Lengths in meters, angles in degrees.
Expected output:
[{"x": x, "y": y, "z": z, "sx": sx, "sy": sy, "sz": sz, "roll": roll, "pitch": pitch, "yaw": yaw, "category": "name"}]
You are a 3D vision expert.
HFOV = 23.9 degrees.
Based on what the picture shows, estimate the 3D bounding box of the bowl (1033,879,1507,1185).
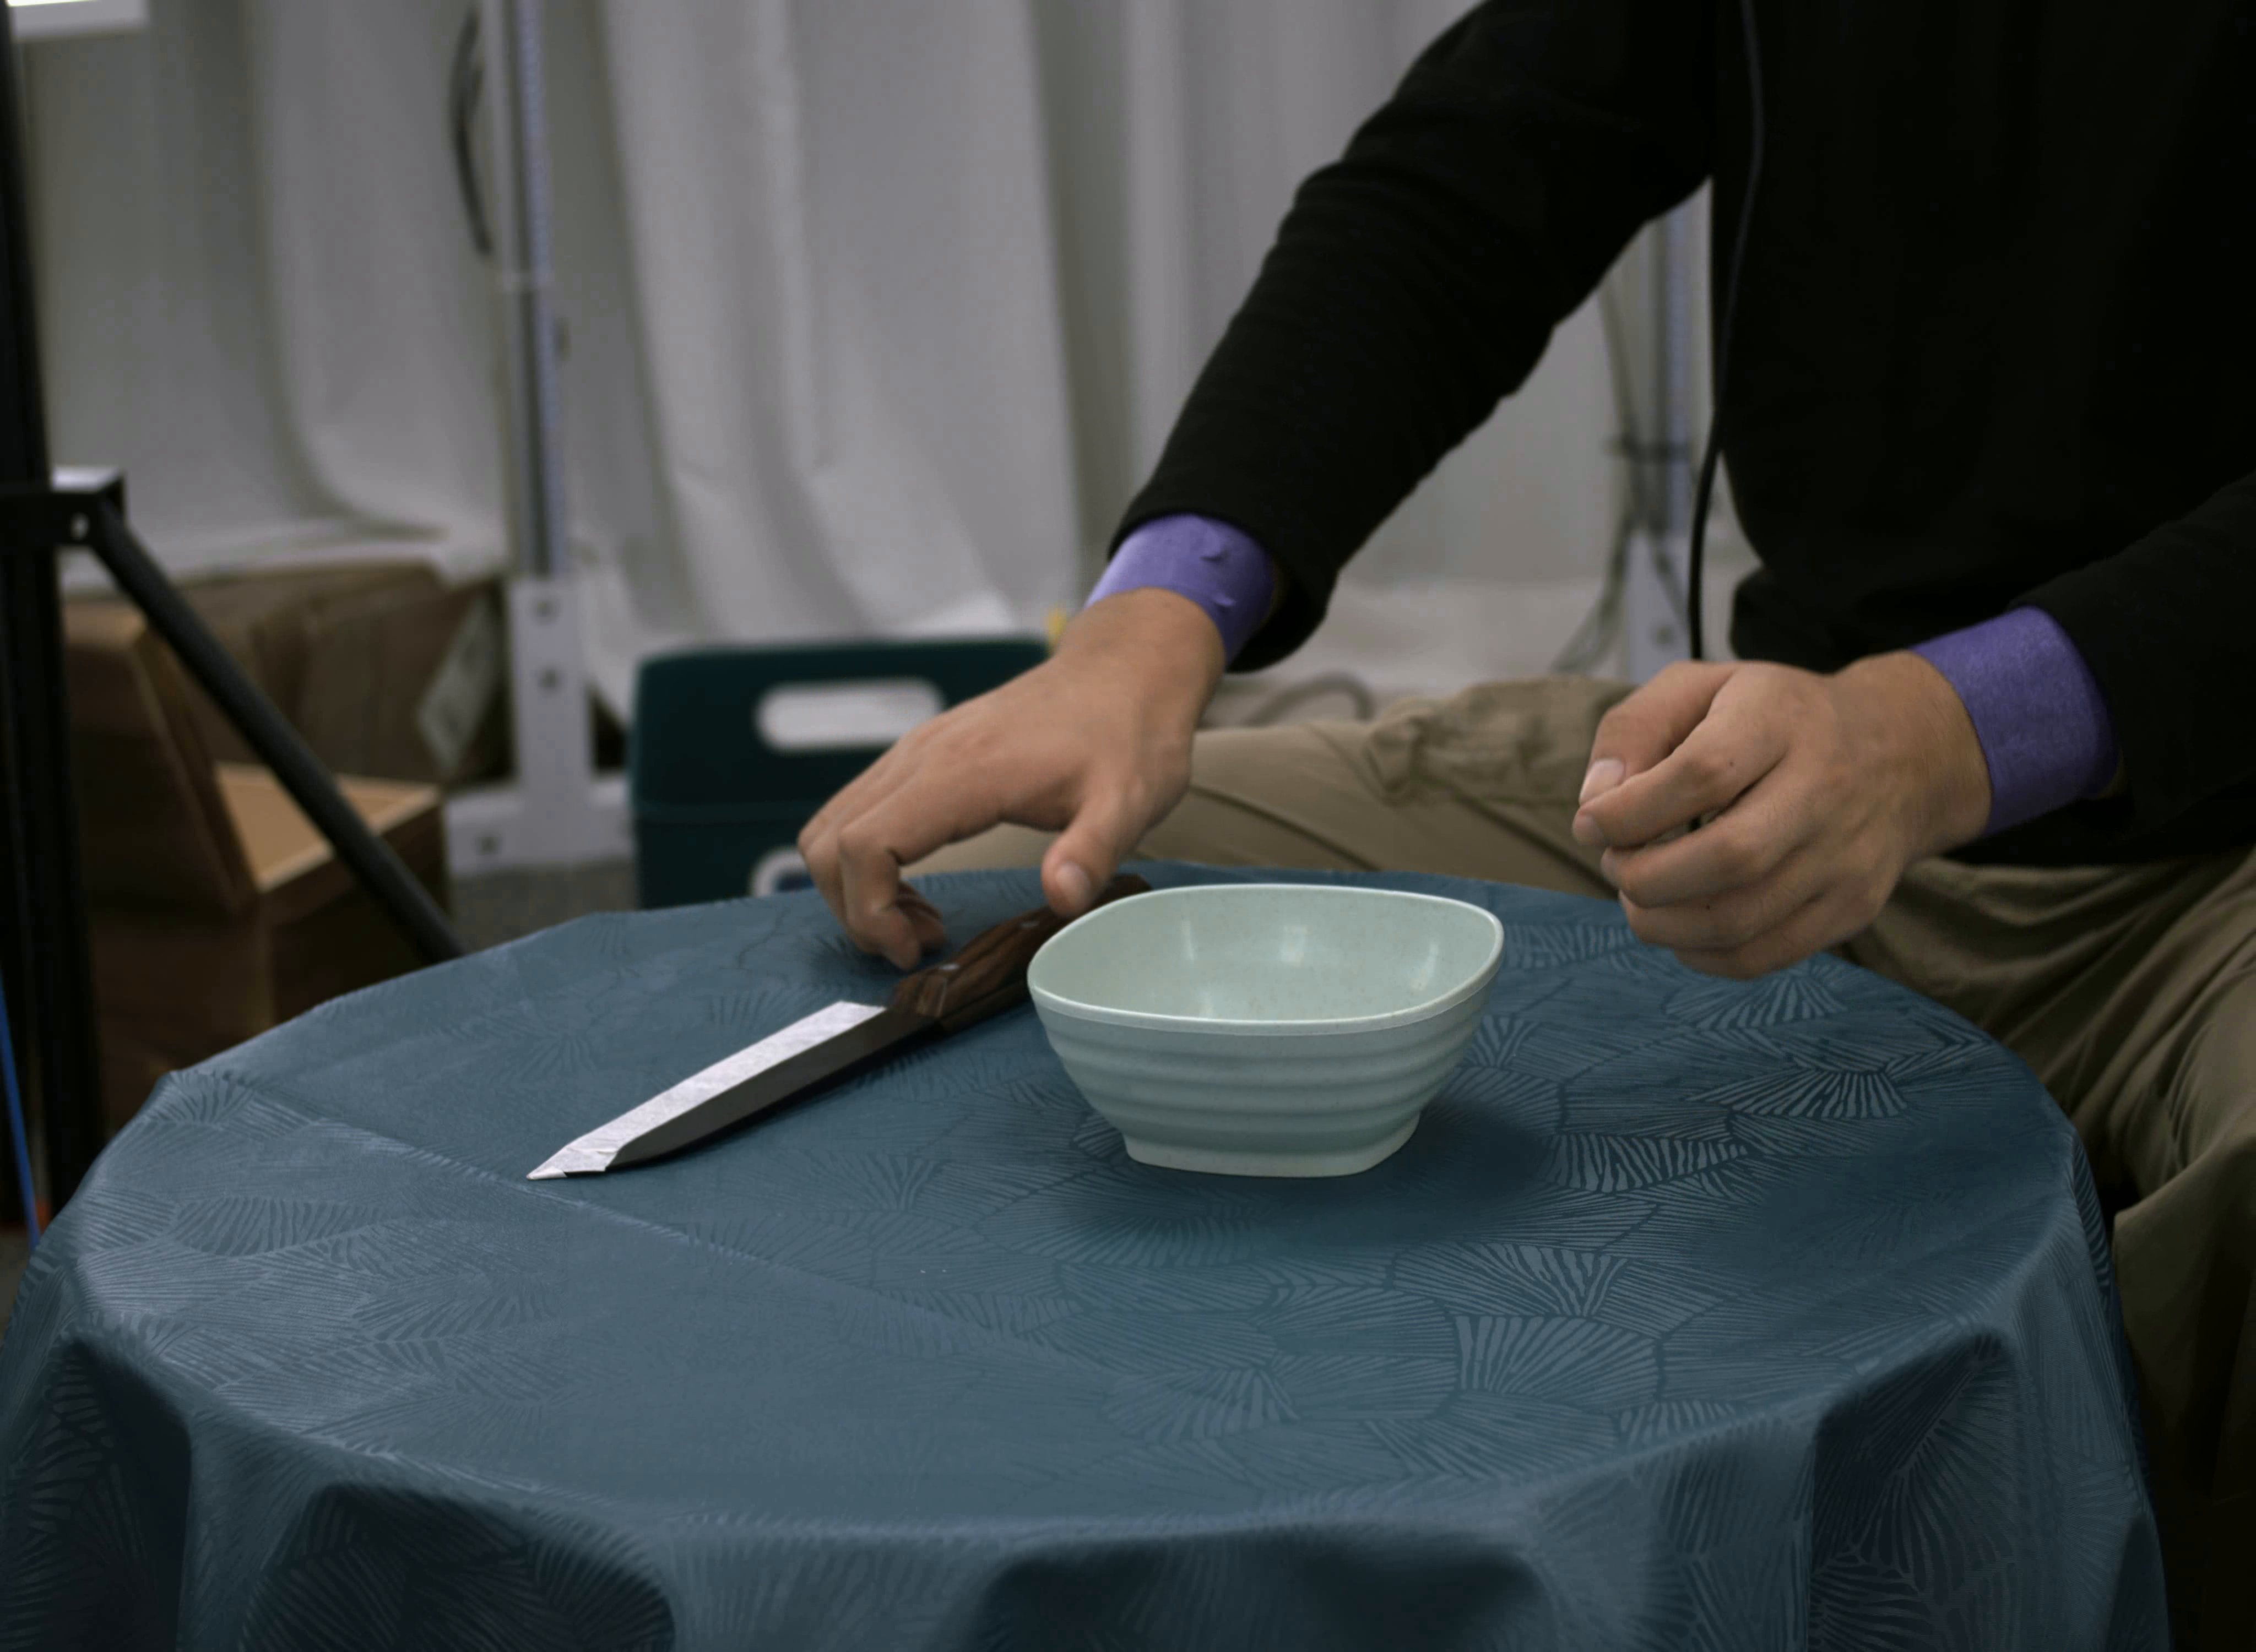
[{"x": 0.044, "y": 0.065, "z": 1.596, "sx": 0.151, "sy": 0.058, "sz": 0.152, "roll": -4, "pitch": 17, "yaw": 0, "category": "bowl"}]

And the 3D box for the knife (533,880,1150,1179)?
[{"x": -0.086, "y": 0.066, "z": 1.692, "sx": 0.051, "sy": 0.020, "sz": 0.283, "roll": 4, "pitch": 19, "yaw": 40, "category": "knife"}]
